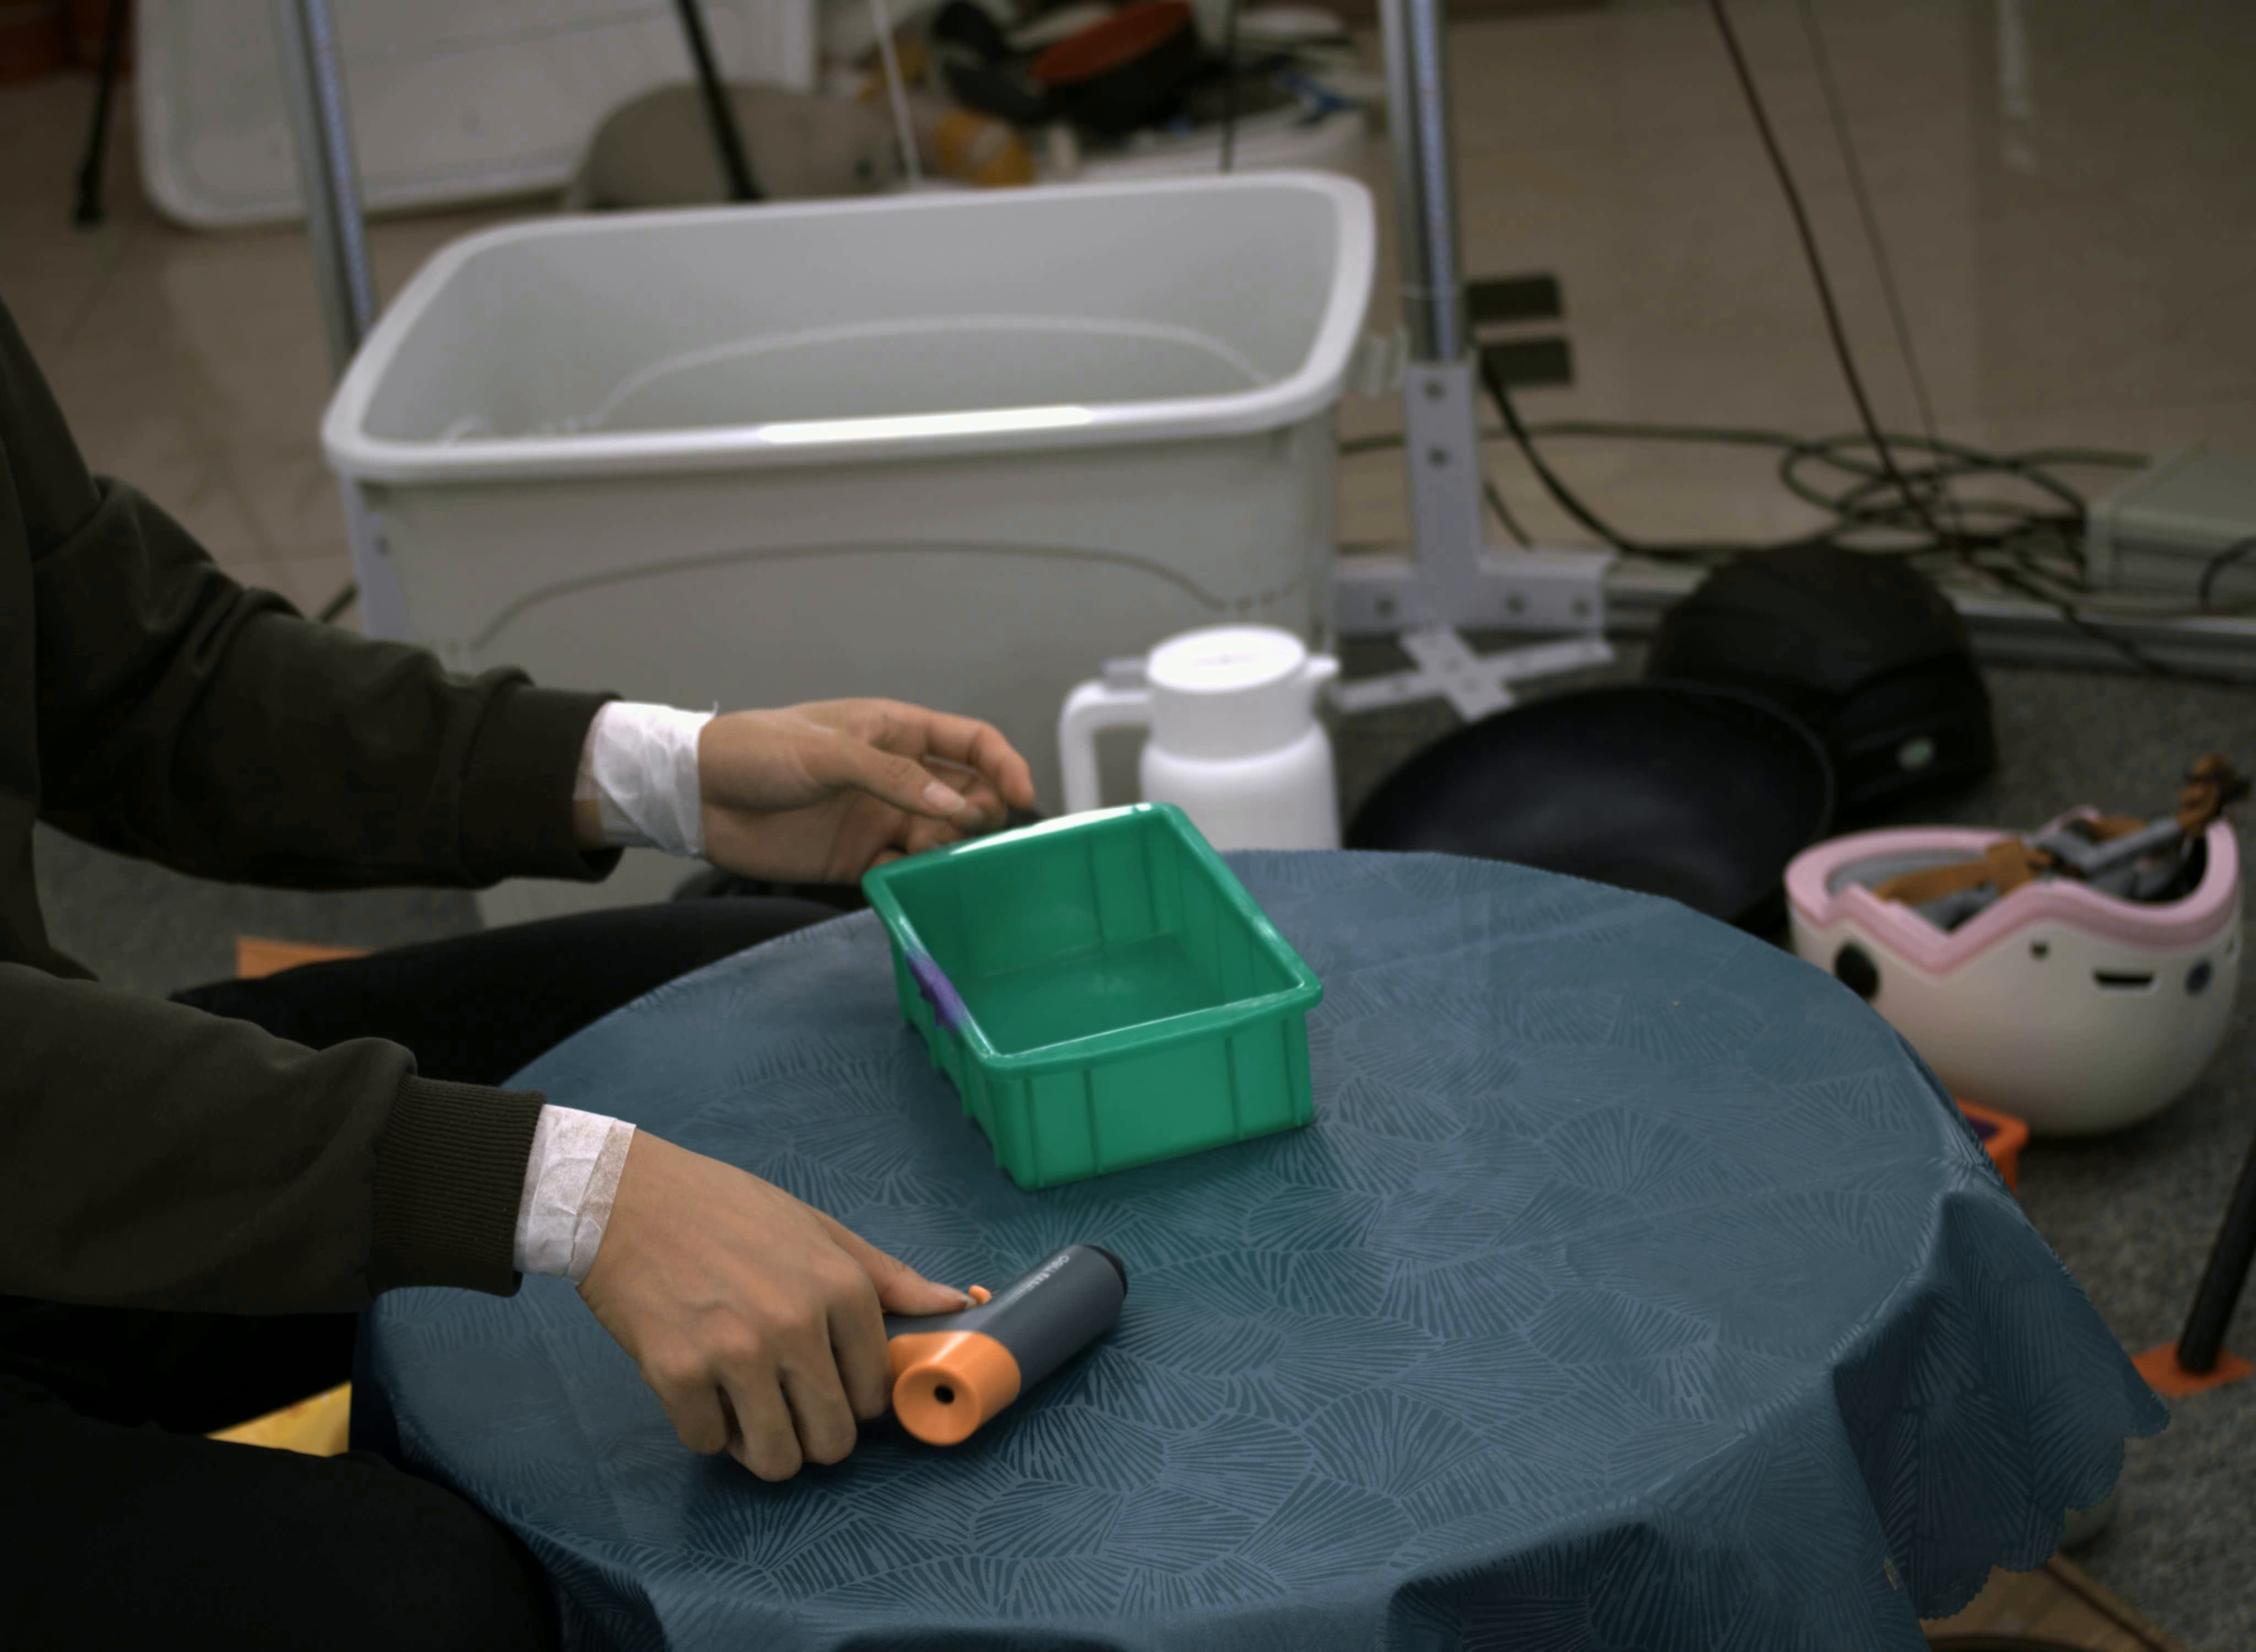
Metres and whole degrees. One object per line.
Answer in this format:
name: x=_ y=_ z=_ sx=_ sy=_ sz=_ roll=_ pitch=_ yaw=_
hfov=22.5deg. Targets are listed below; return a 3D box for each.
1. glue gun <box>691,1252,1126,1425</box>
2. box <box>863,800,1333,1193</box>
glue gun: x=-0.077 y=0.180 z=2.035 sx=0.139 sy=0.041 sz=0.117 roll=2 pitch=13 yaw=14
box: x=-0.012 y=0.067 z=2.231 sx=0.138 sy=0.066 sz=0.207 roll=-14 pitch=28 yaw=-14
